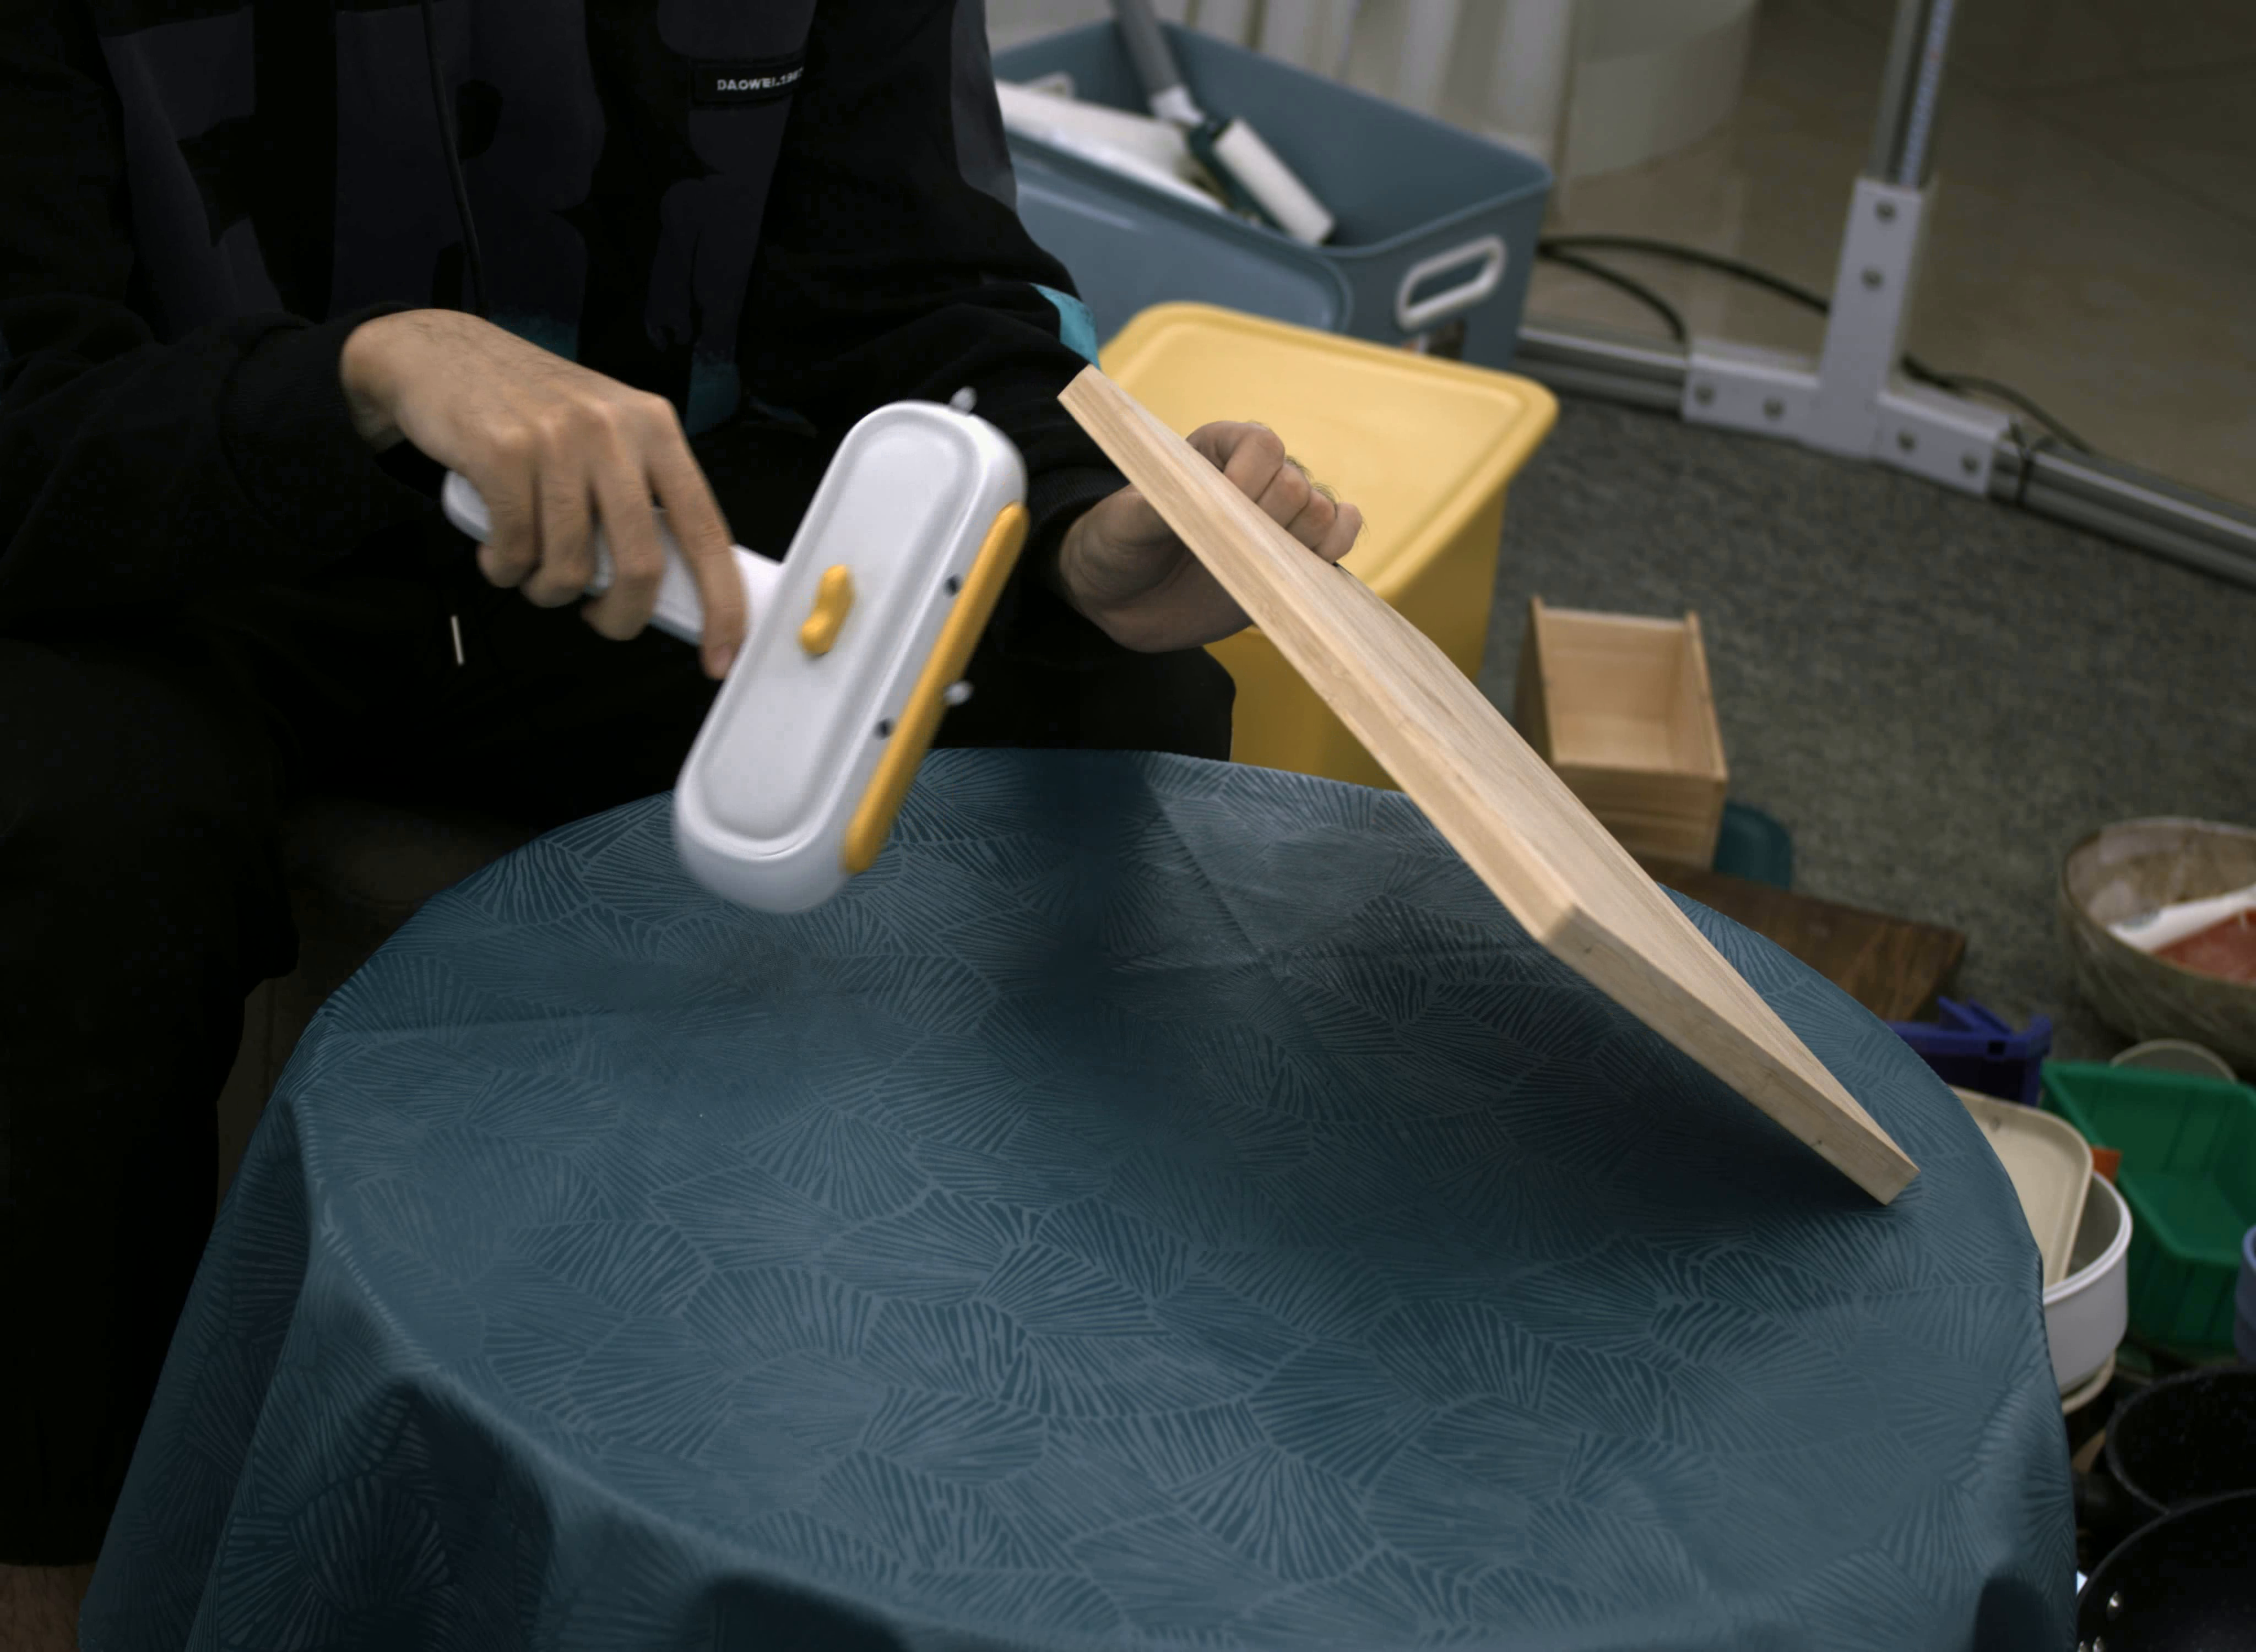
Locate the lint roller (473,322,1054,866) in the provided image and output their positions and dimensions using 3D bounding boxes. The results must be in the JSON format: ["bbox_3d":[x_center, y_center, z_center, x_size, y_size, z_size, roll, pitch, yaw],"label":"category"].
[{"bbox_3d":[-0.134,-0.092,1.869,0.193,0.193,0.074,10,-6,18],"label":"lint roller"}]

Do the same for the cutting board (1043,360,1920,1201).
[{"bbox_3d":[0.121,-0.019,1.880,0.248,0.023,0.352,35,11,-46],"label":"cutting board"}]
